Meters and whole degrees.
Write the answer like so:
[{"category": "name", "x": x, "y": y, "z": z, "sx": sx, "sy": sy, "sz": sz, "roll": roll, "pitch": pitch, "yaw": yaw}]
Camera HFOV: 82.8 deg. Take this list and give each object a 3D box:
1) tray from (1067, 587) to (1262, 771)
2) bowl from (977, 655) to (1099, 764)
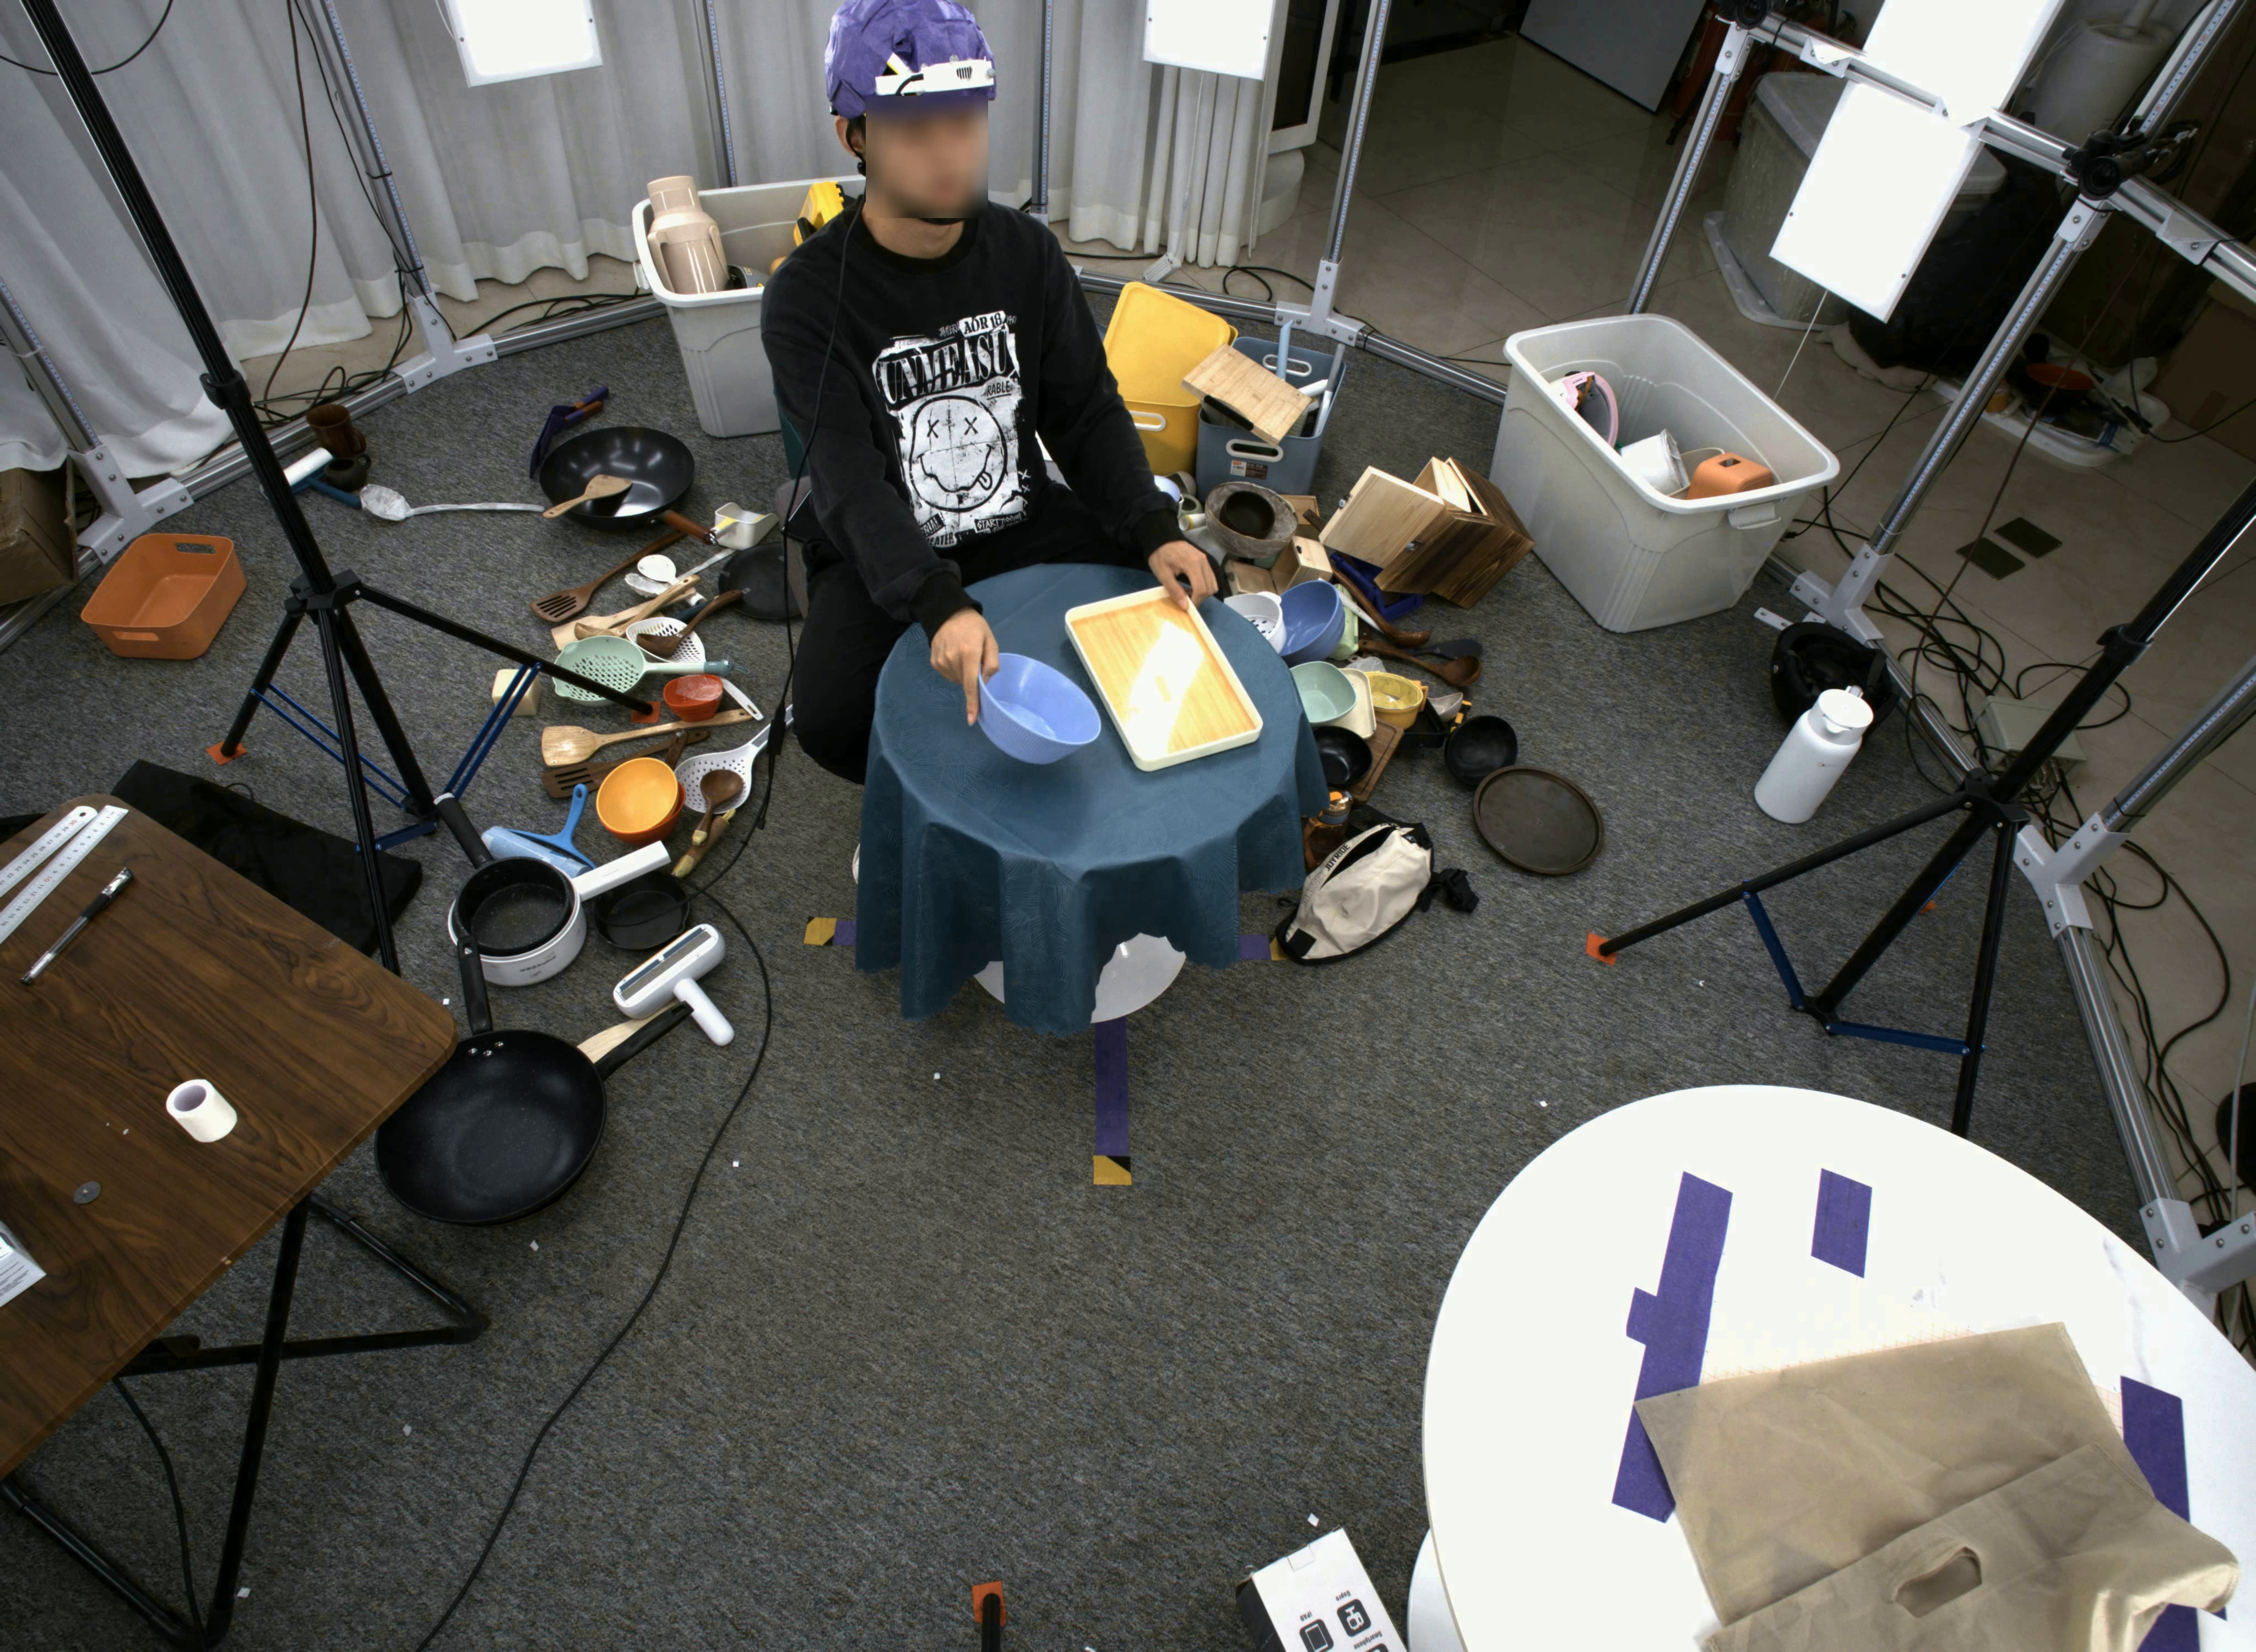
[{"category": "tray", "x": 0.048, "y": -0.217, "z": 1.842, "sx": 0.192, "sy": 0.027, "sz": 0.307, "roll": -16, "pitch": 56, "yaw": -16}, {"category": "bowl", "x": -0.129, "y": -0.142, "z": 1.671, "sx": 0.174, "sy": 0.069, "sz": 0.180, "roll": 27, "pitch": 29, "yaw": -16}]
